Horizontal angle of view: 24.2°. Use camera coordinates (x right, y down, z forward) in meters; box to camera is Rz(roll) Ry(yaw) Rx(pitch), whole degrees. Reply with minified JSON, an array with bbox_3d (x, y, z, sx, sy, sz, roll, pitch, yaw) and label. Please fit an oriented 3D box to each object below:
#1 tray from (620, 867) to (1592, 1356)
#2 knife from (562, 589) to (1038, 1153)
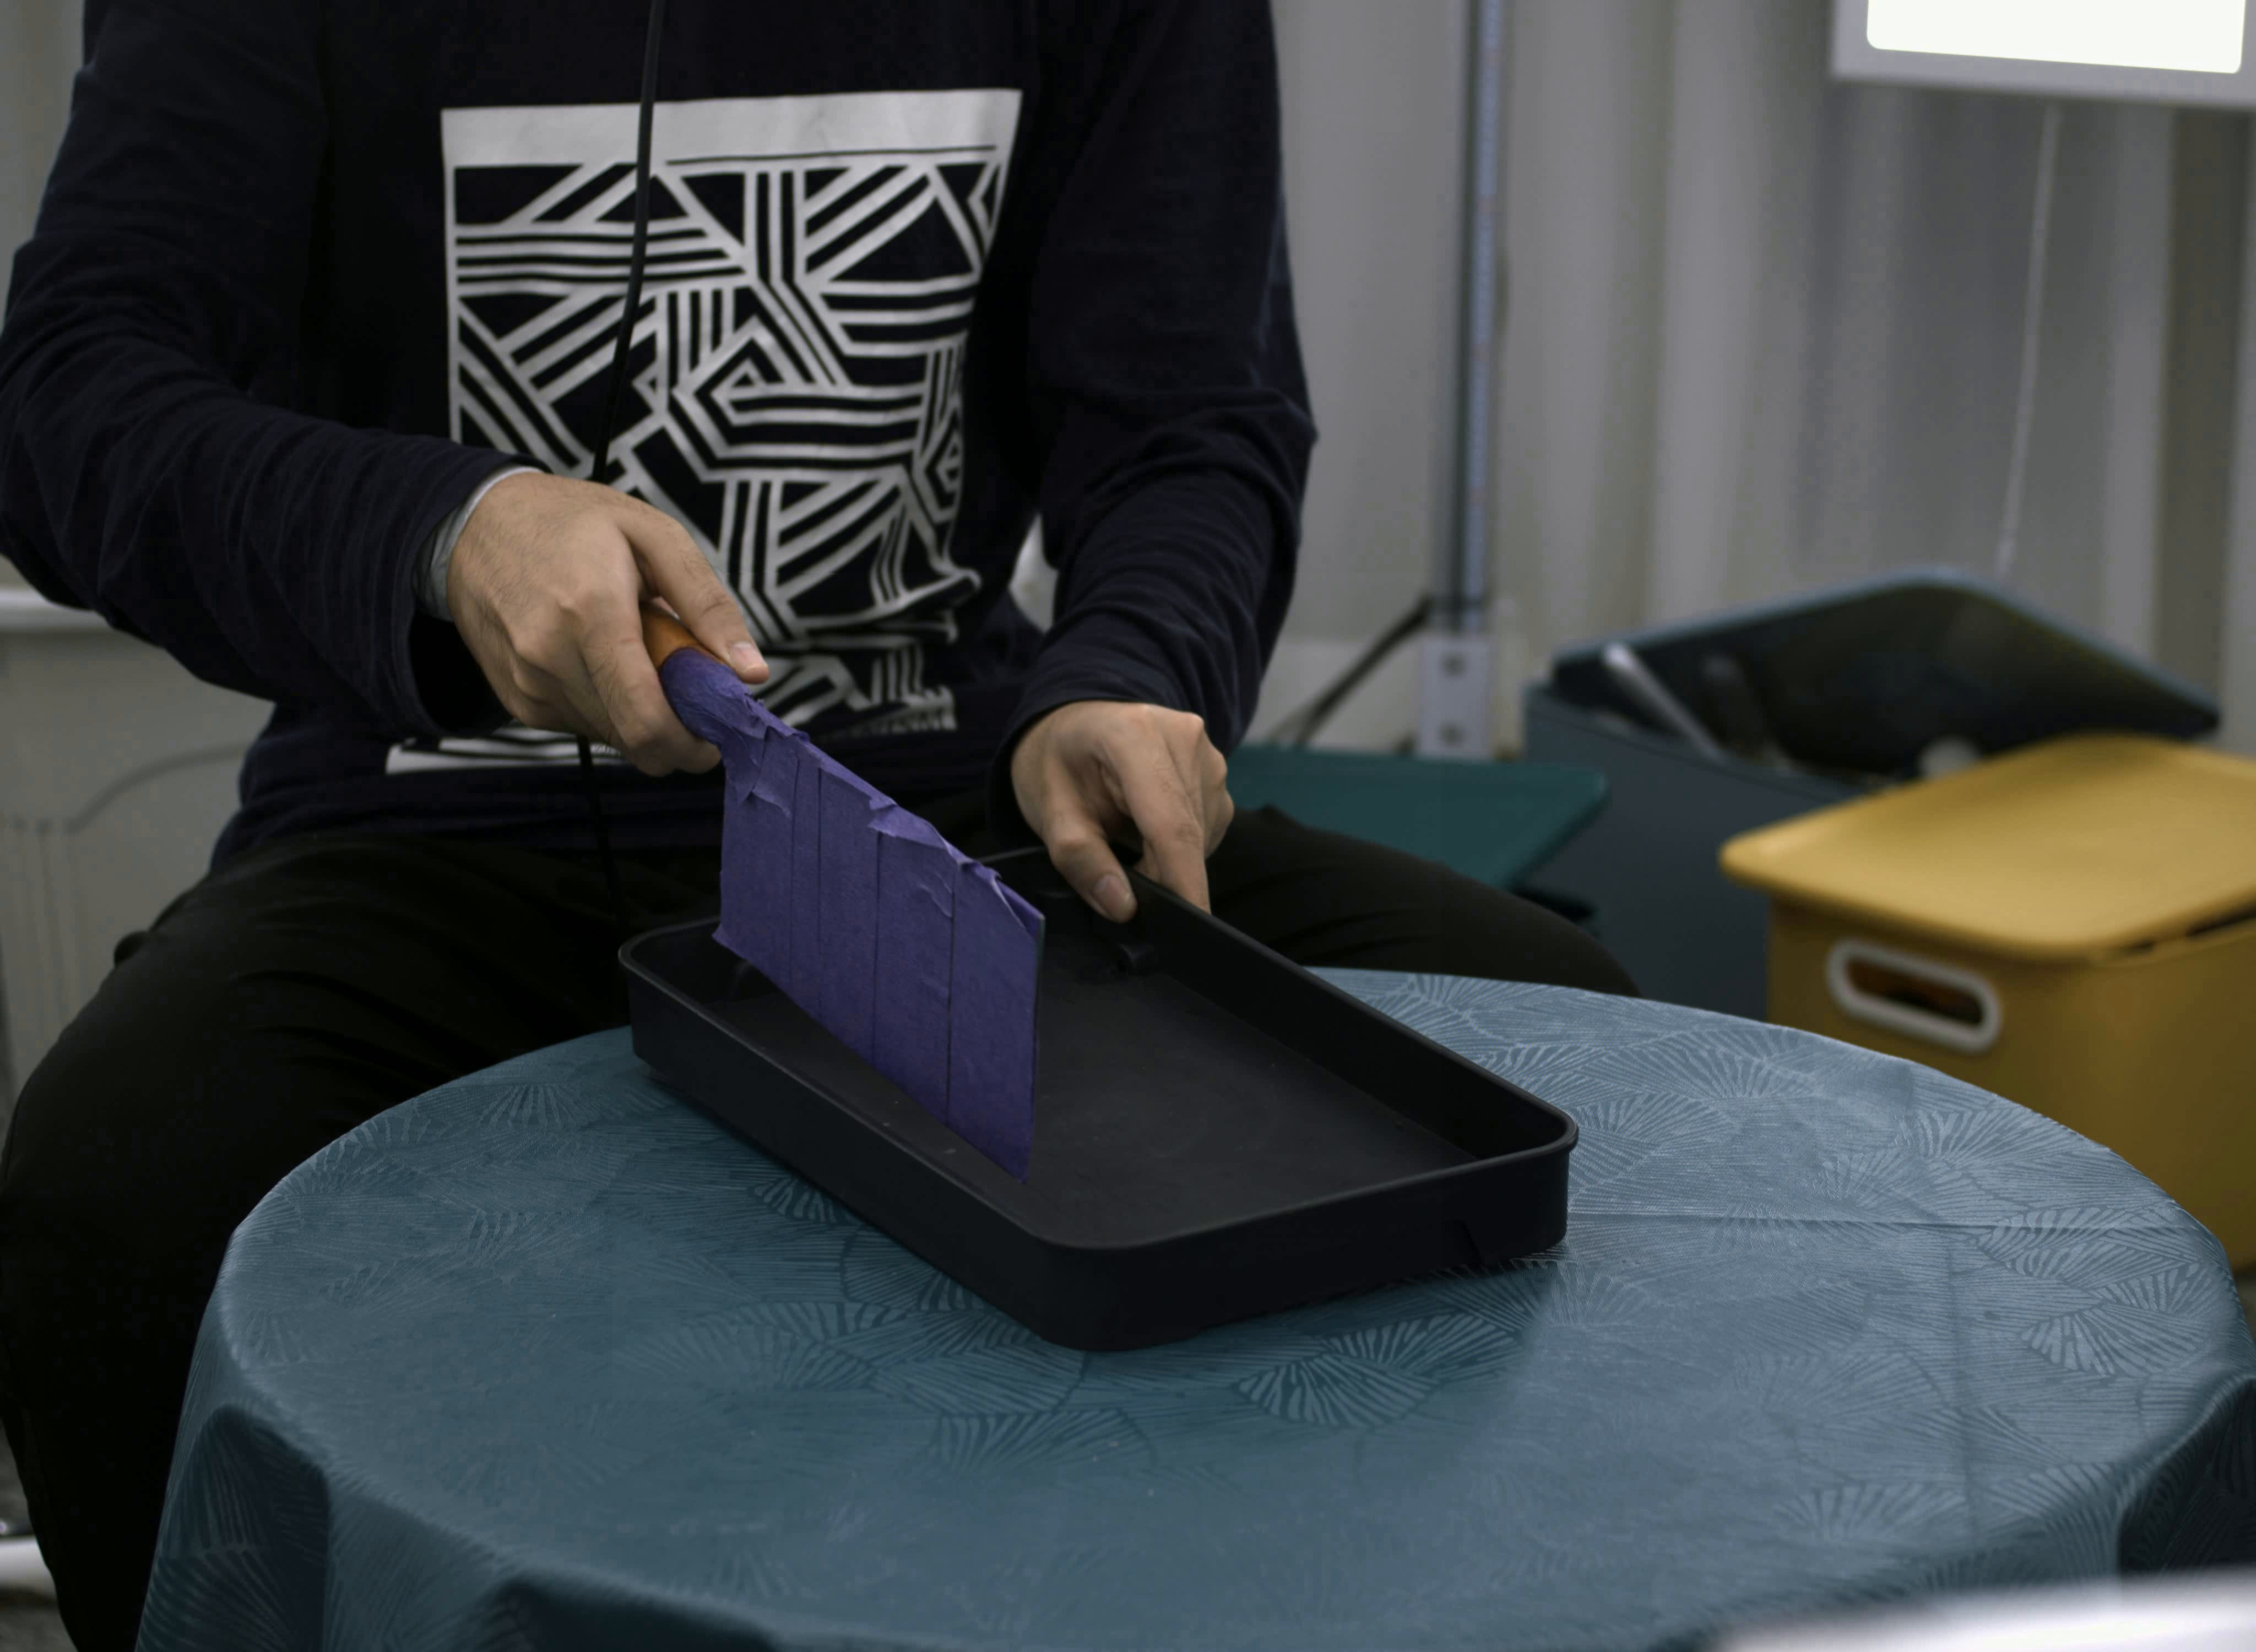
[{"bbox_3d":[-0.013,0.083,1.643,0.185,0.037,0.314,-12,20,-30],"label":"tray"},{"bbox_3d":[-0.107,0.013,1.667,0.032,0.105,0.311,-8,24,-27],"label":"knife"}]
